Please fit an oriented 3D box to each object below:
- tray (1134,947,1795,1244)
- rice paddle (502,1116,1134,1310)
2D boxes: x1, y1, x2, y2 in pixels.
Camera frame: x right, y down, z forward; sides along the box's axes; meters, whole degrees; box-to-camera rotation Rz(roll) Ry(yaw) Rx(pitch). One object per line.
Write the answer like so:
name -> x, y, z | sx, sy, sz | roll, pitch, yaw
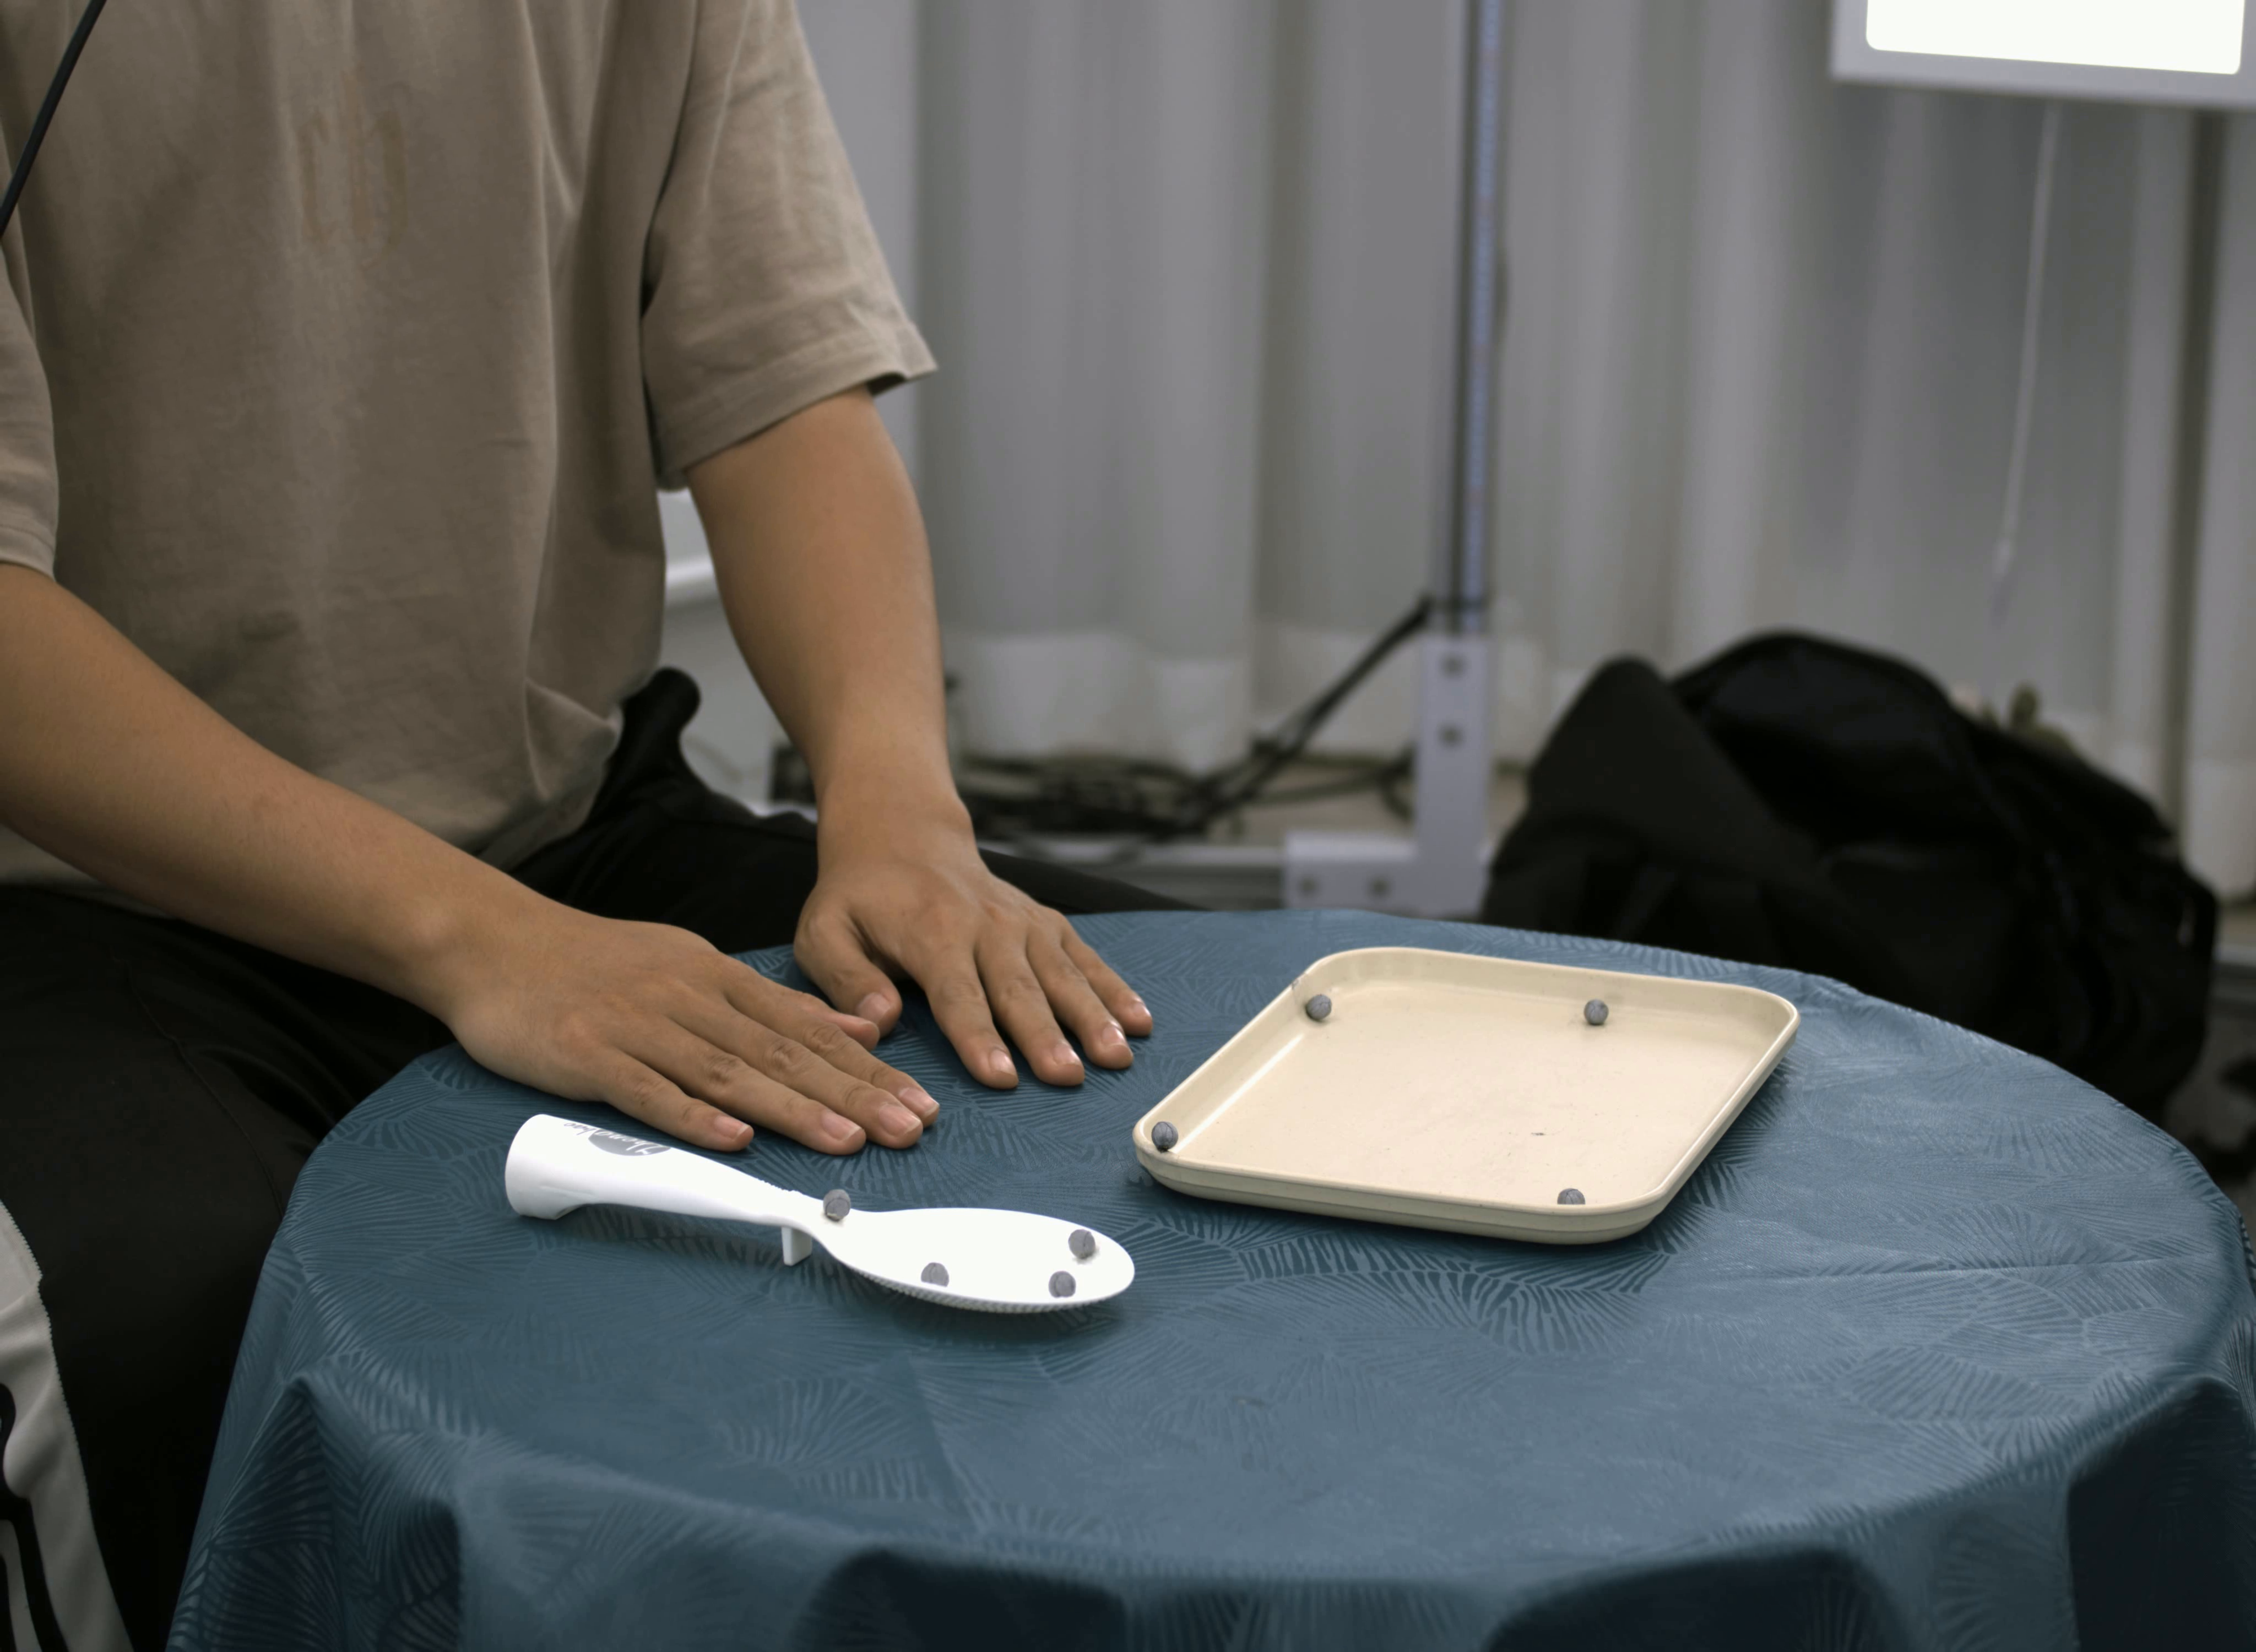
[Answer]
tray -> 0.112, 0.086, 1.696 | 0.170, 0.017, 0.240 | 7, 17, 18
rice paddle -> -0.091, 0.115, 1.553 | 0.203, 0.029, 0.069 | 9, 19, 26
